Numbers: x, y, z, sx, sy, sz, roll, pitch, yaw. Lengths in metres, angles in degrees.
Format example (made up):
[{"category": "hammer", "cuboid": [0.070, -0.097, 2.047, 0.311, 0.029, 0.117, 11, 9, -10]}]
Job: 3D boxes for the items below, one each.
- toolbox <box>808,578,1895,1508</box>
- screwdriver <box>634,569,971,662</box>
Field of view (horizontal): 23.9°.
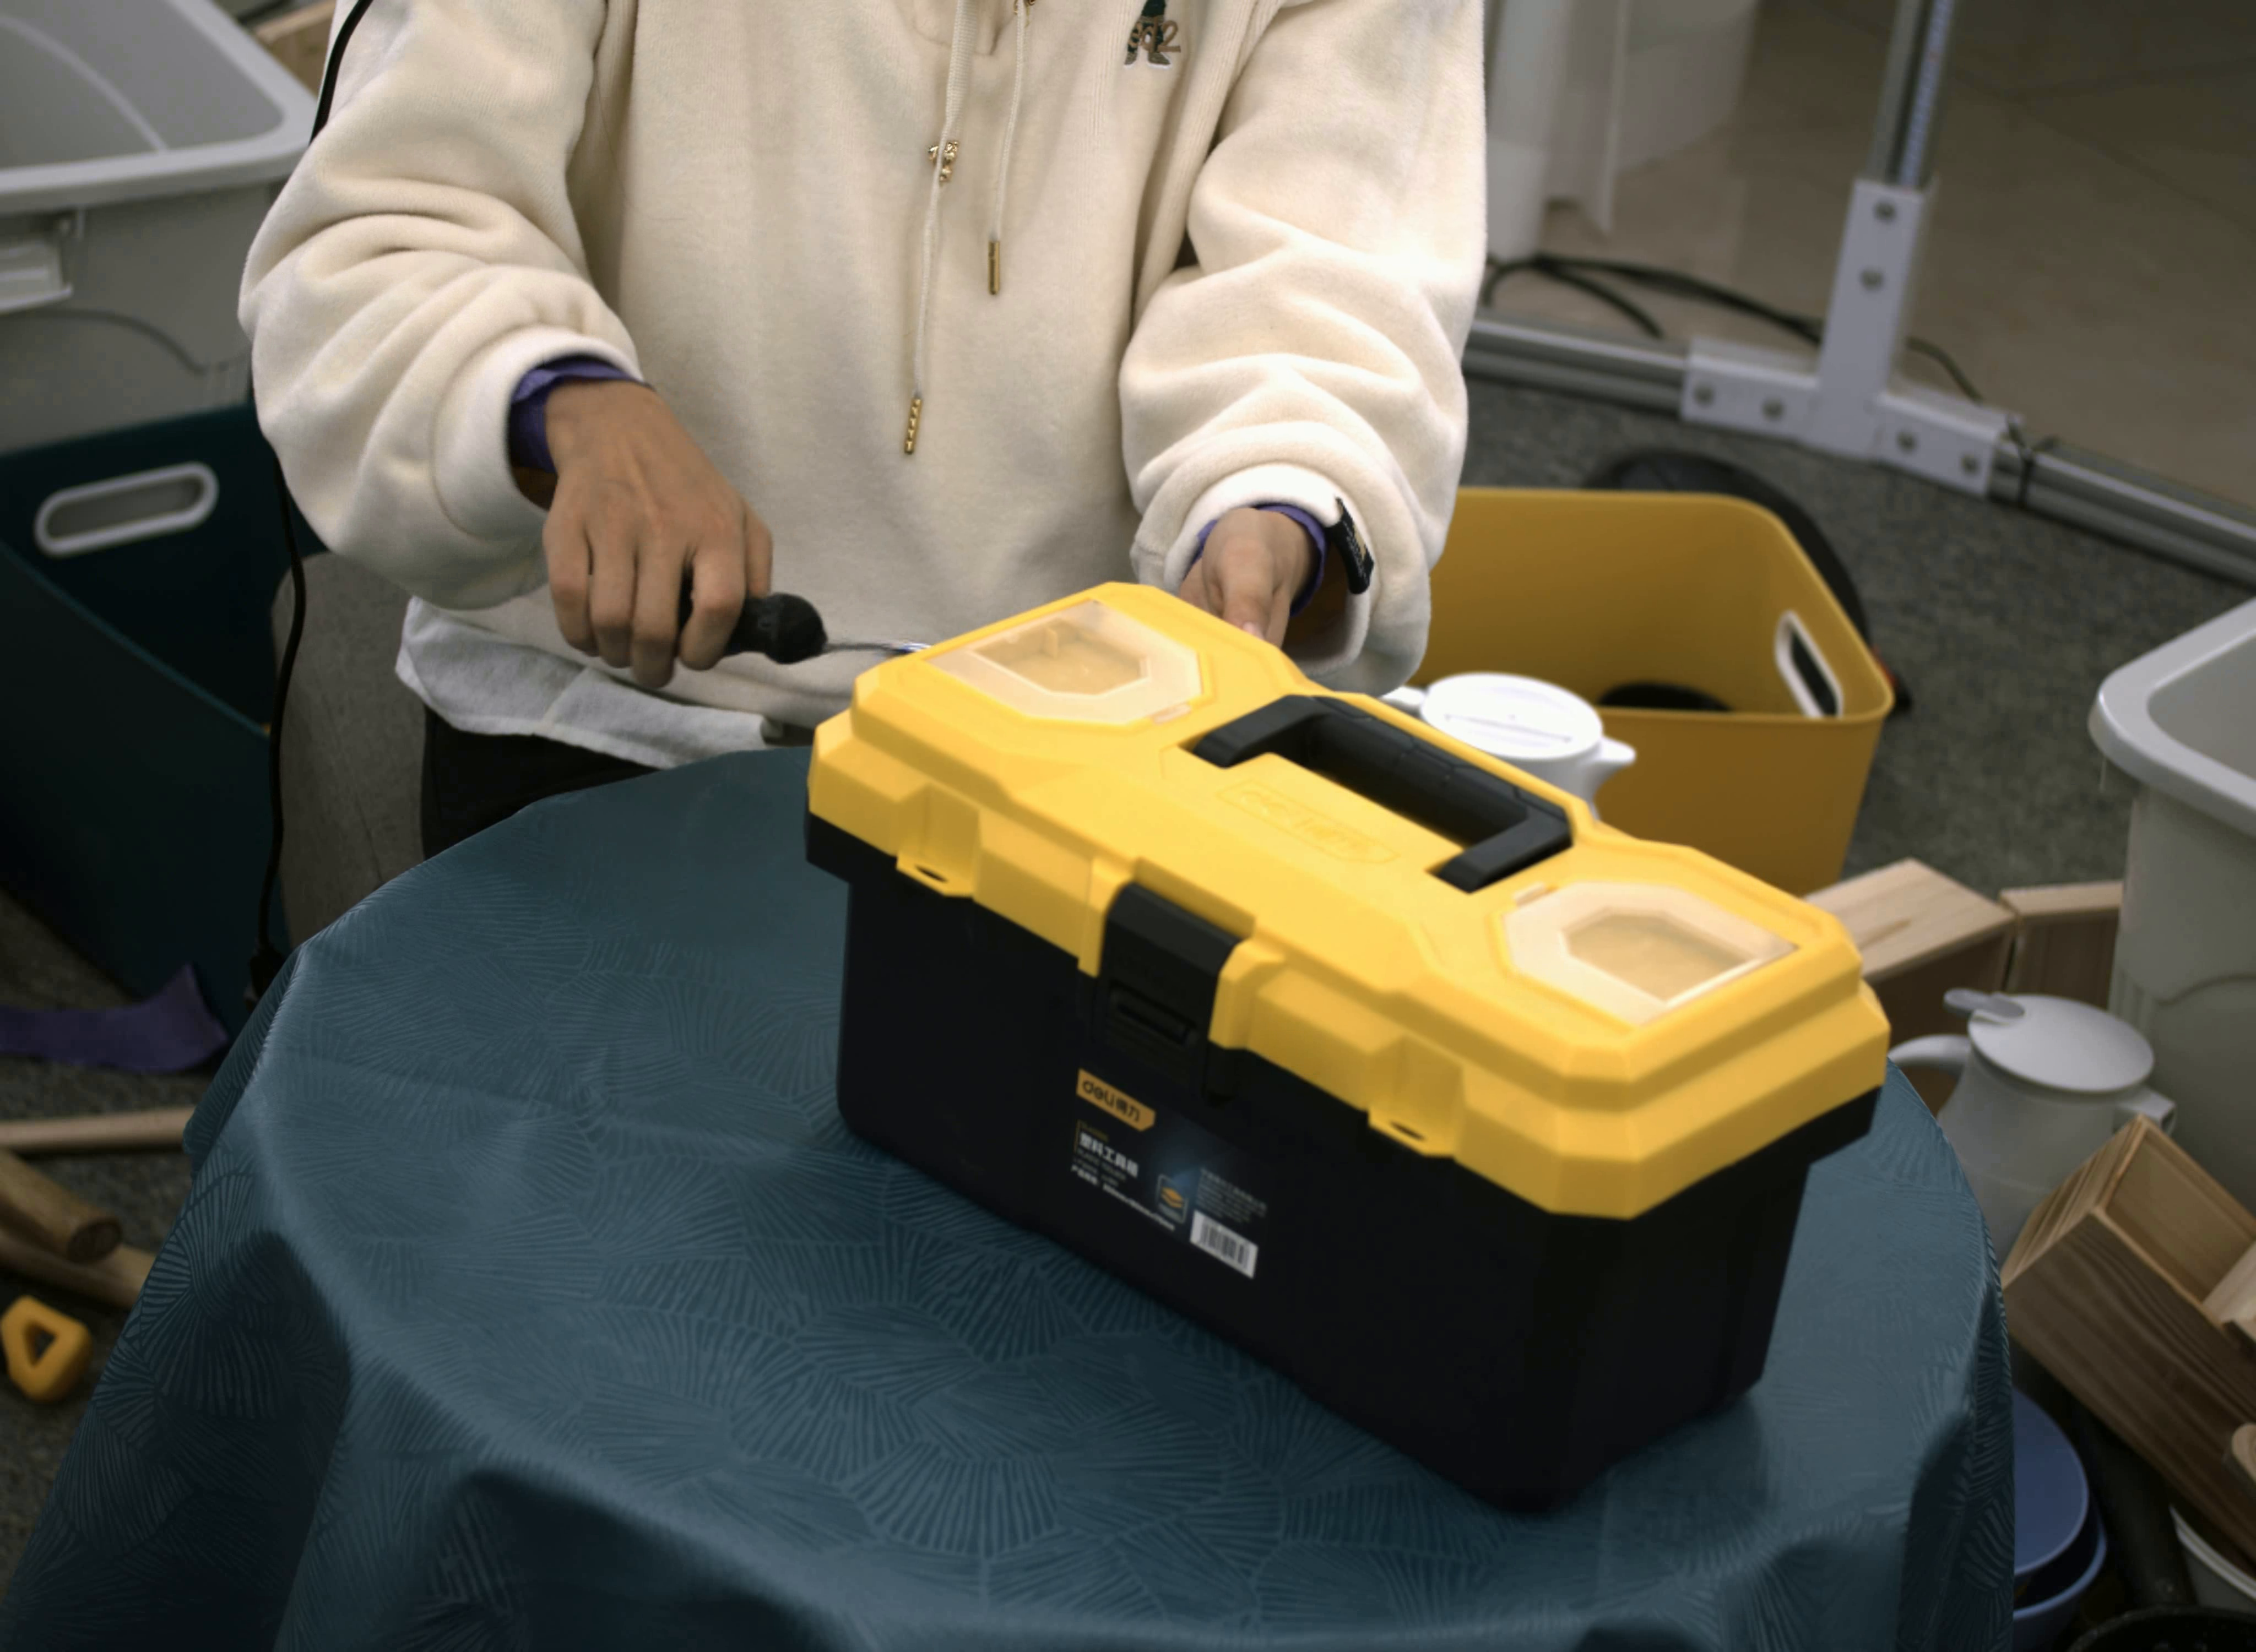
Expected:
[{"category": "toolbox", "cuboid": [0.061, 0.066, 1.739, 0.354, 0.172, 0.180, 28, 33, 35]}, {"category": "screwdriver", "cuboid": [-0.116, -0.072, 1.879, 0.031, 0.031, 0.197, -13, 12, -34]}]
